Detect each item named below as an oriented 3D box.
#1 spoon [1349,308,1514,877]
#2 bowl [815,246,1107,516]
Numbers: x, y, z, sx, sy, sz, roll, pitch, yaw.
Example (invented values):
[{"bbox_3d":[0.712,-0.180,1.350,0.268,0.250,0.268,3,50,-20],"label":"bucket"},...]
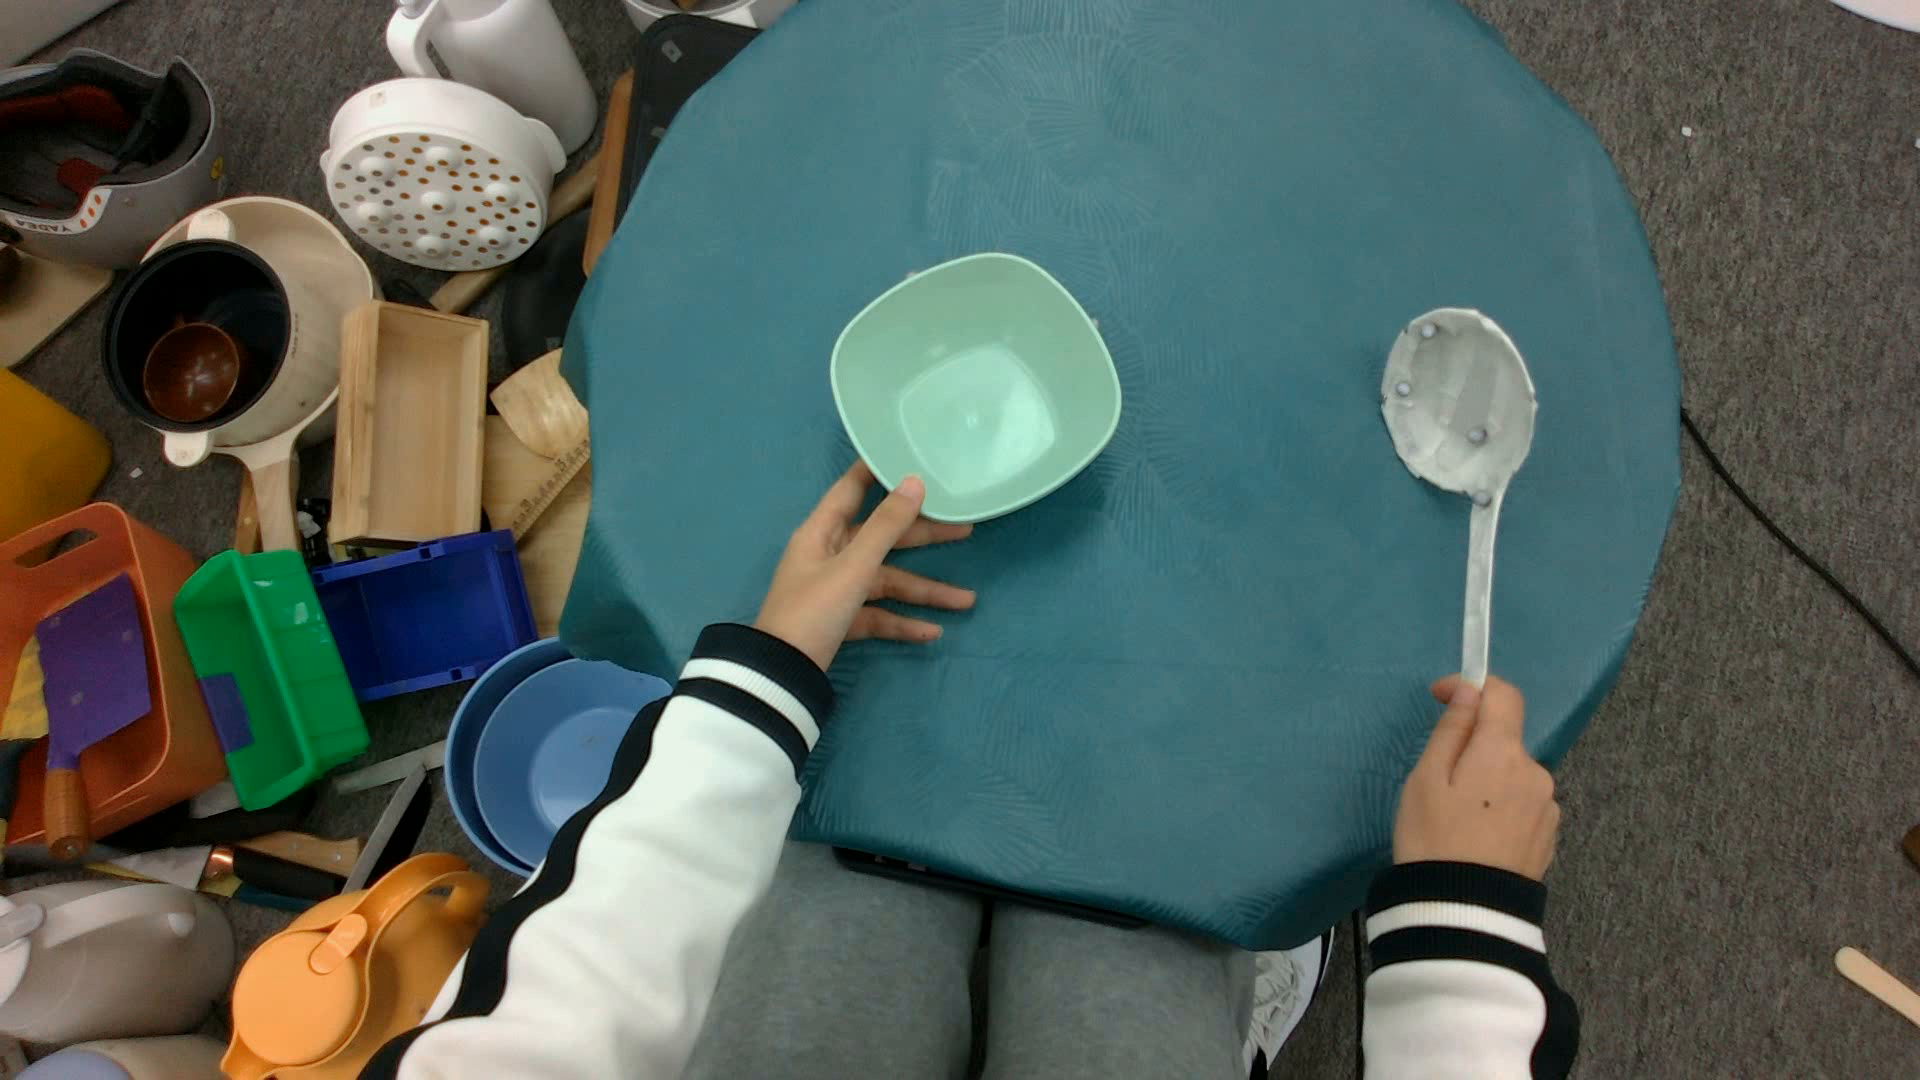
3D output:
[{"bbox_3d":[0.216,0.020,0.673,0.059,0.100,0.278,23,70,-20],"label":"spoon"},{"bbox_3d":[0.001,-0.075,0.726,0.151,0.058,0.152,0,72,1],"label":"bowl"}]
